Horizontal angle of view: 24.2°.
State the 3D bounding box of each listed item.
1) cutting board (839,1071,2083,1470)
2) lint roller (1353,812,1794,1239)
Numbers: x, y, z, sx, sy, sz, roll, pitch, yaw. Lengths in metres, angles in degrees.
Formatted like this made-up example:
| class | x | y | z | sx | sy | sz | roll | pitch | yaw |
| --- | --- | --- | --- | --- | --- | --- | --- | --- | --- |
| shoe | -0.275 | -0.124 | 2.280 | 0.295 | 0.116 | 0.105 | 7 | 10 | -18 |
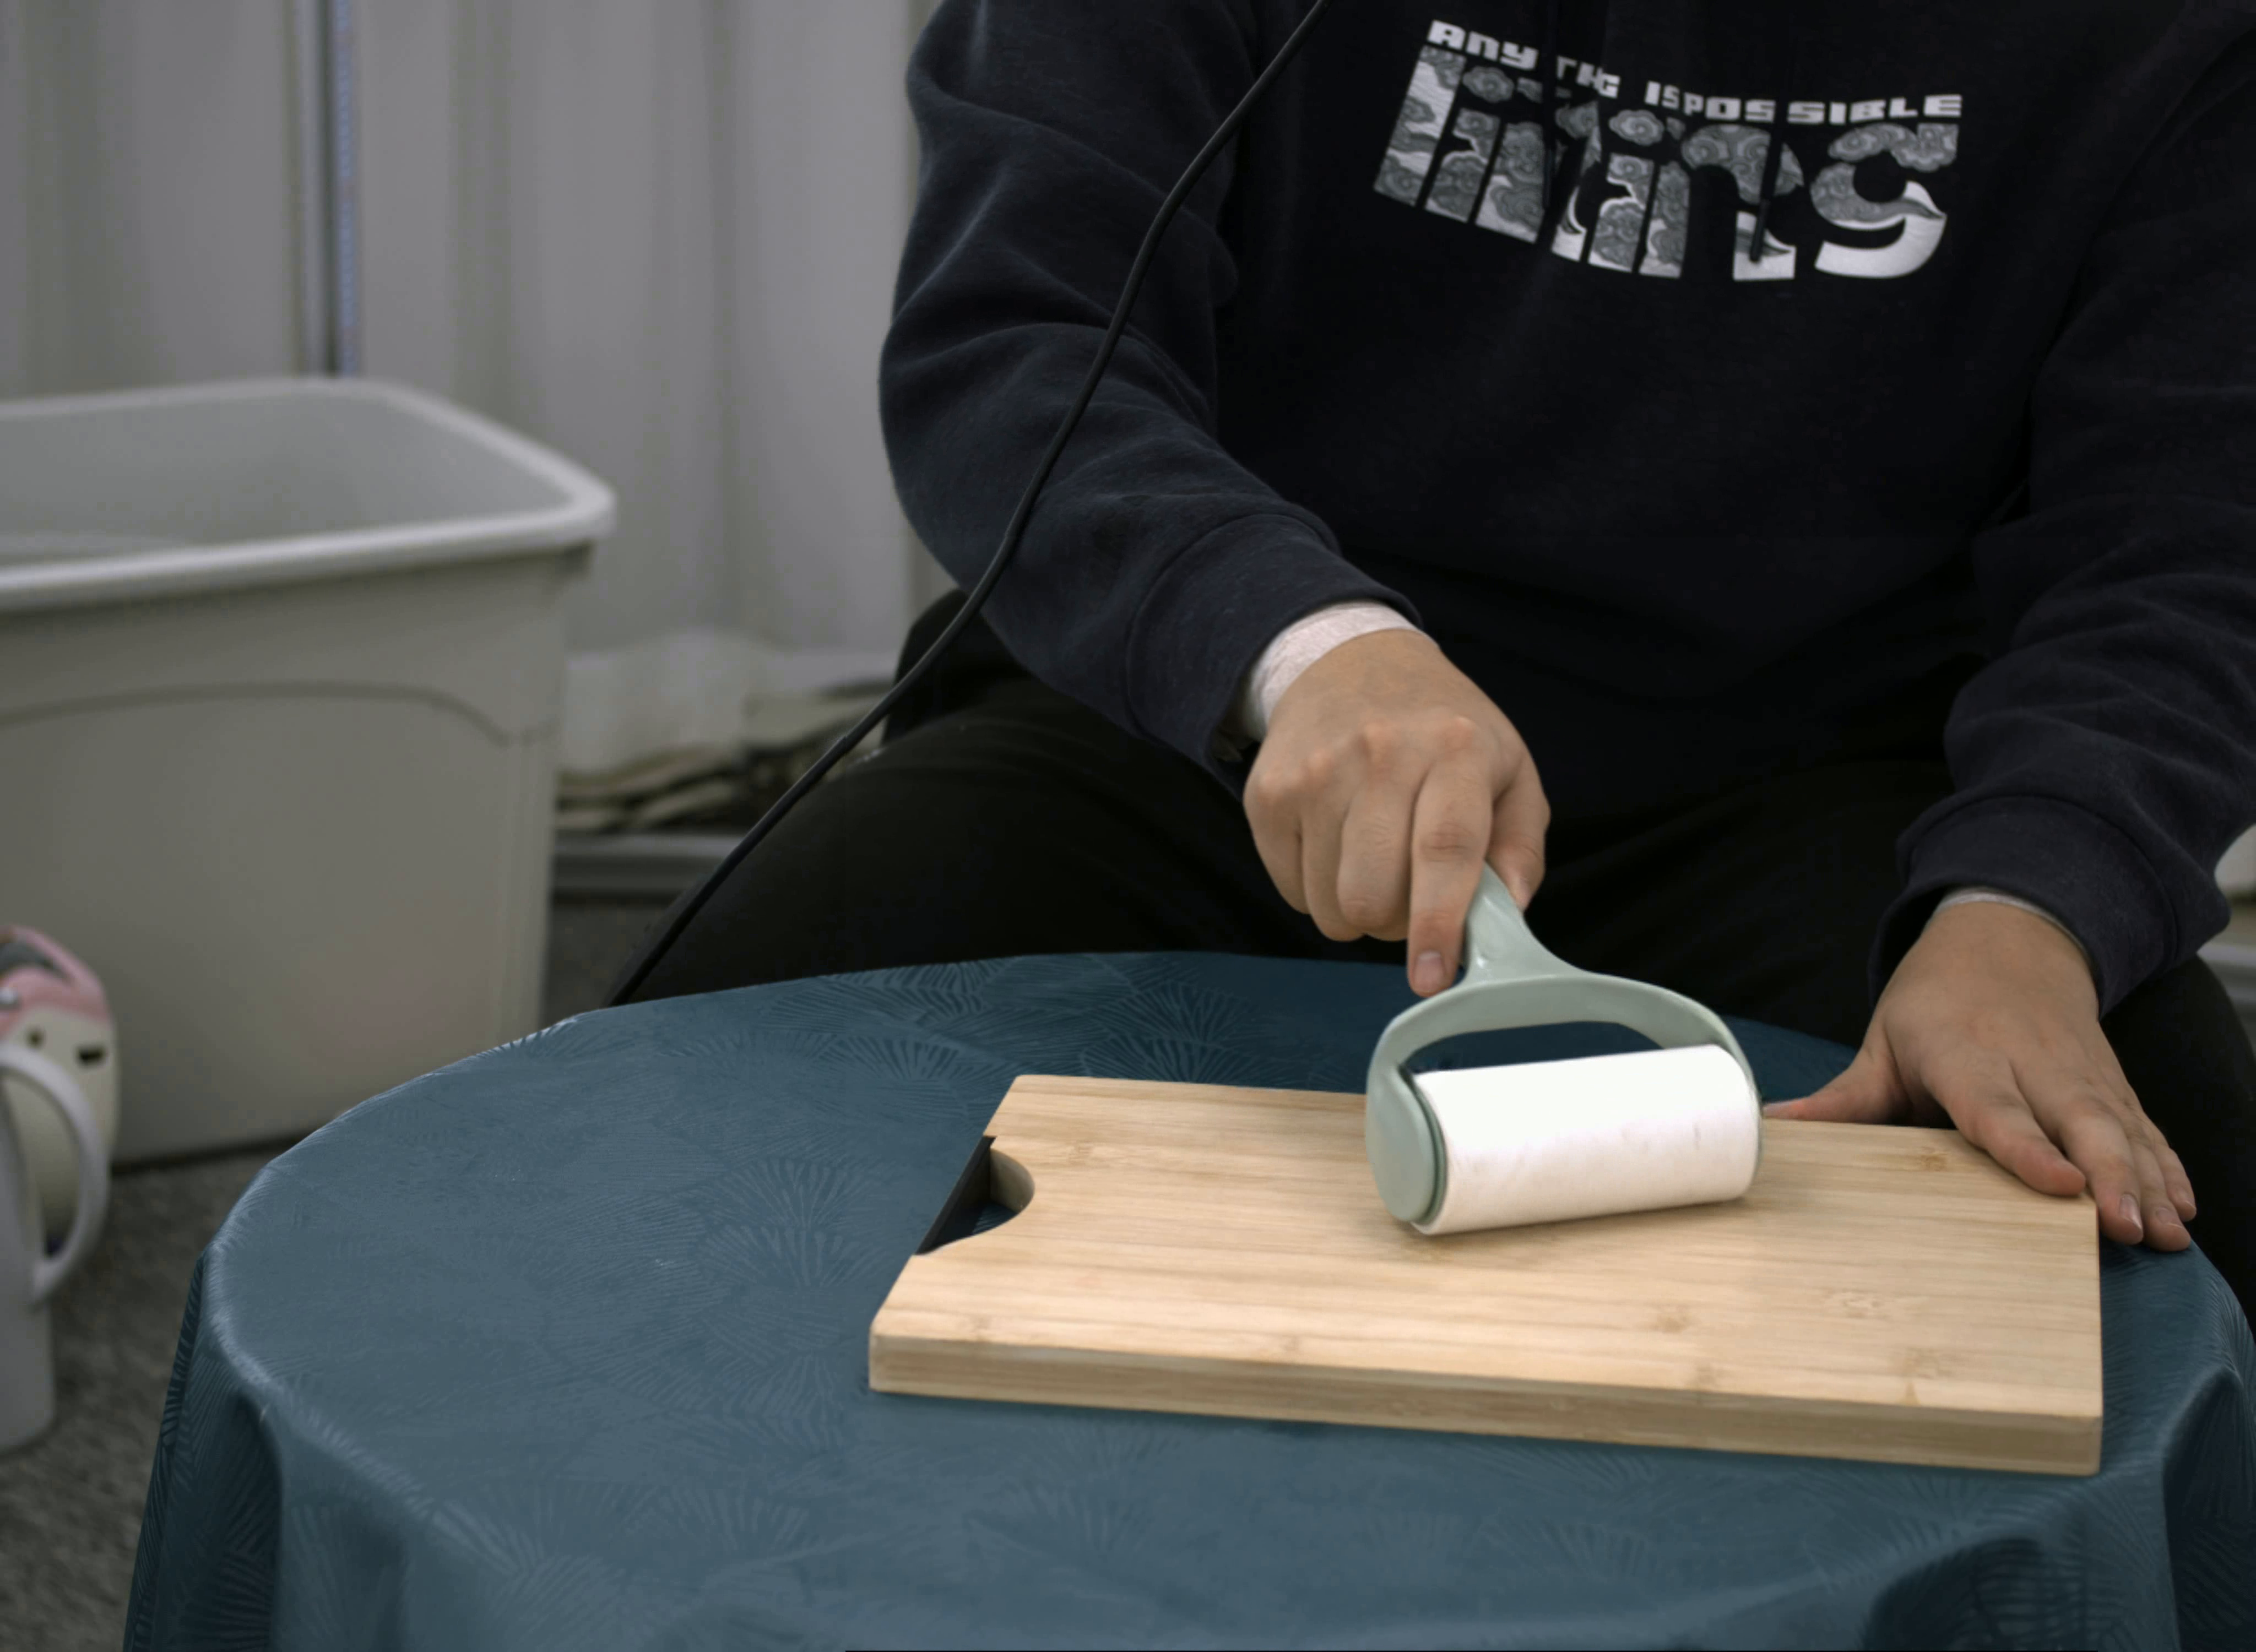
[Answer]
| class | x | y | z | sx | sy | sz | roll | pitch | yaw |
| --- | --- | --- | --- | --- | --- | --- | --- | --- | --- |
| cutting board | 0.108 | 0.127 | 1.550 | 0.346 | 0.024 | 0.250 | 3 | 15 | 7 |
| lint roller | 0.116 | 0.047 | 1.608 | 0.117 | 0.049 | 0.195 | -7 | 41 | -19 |
